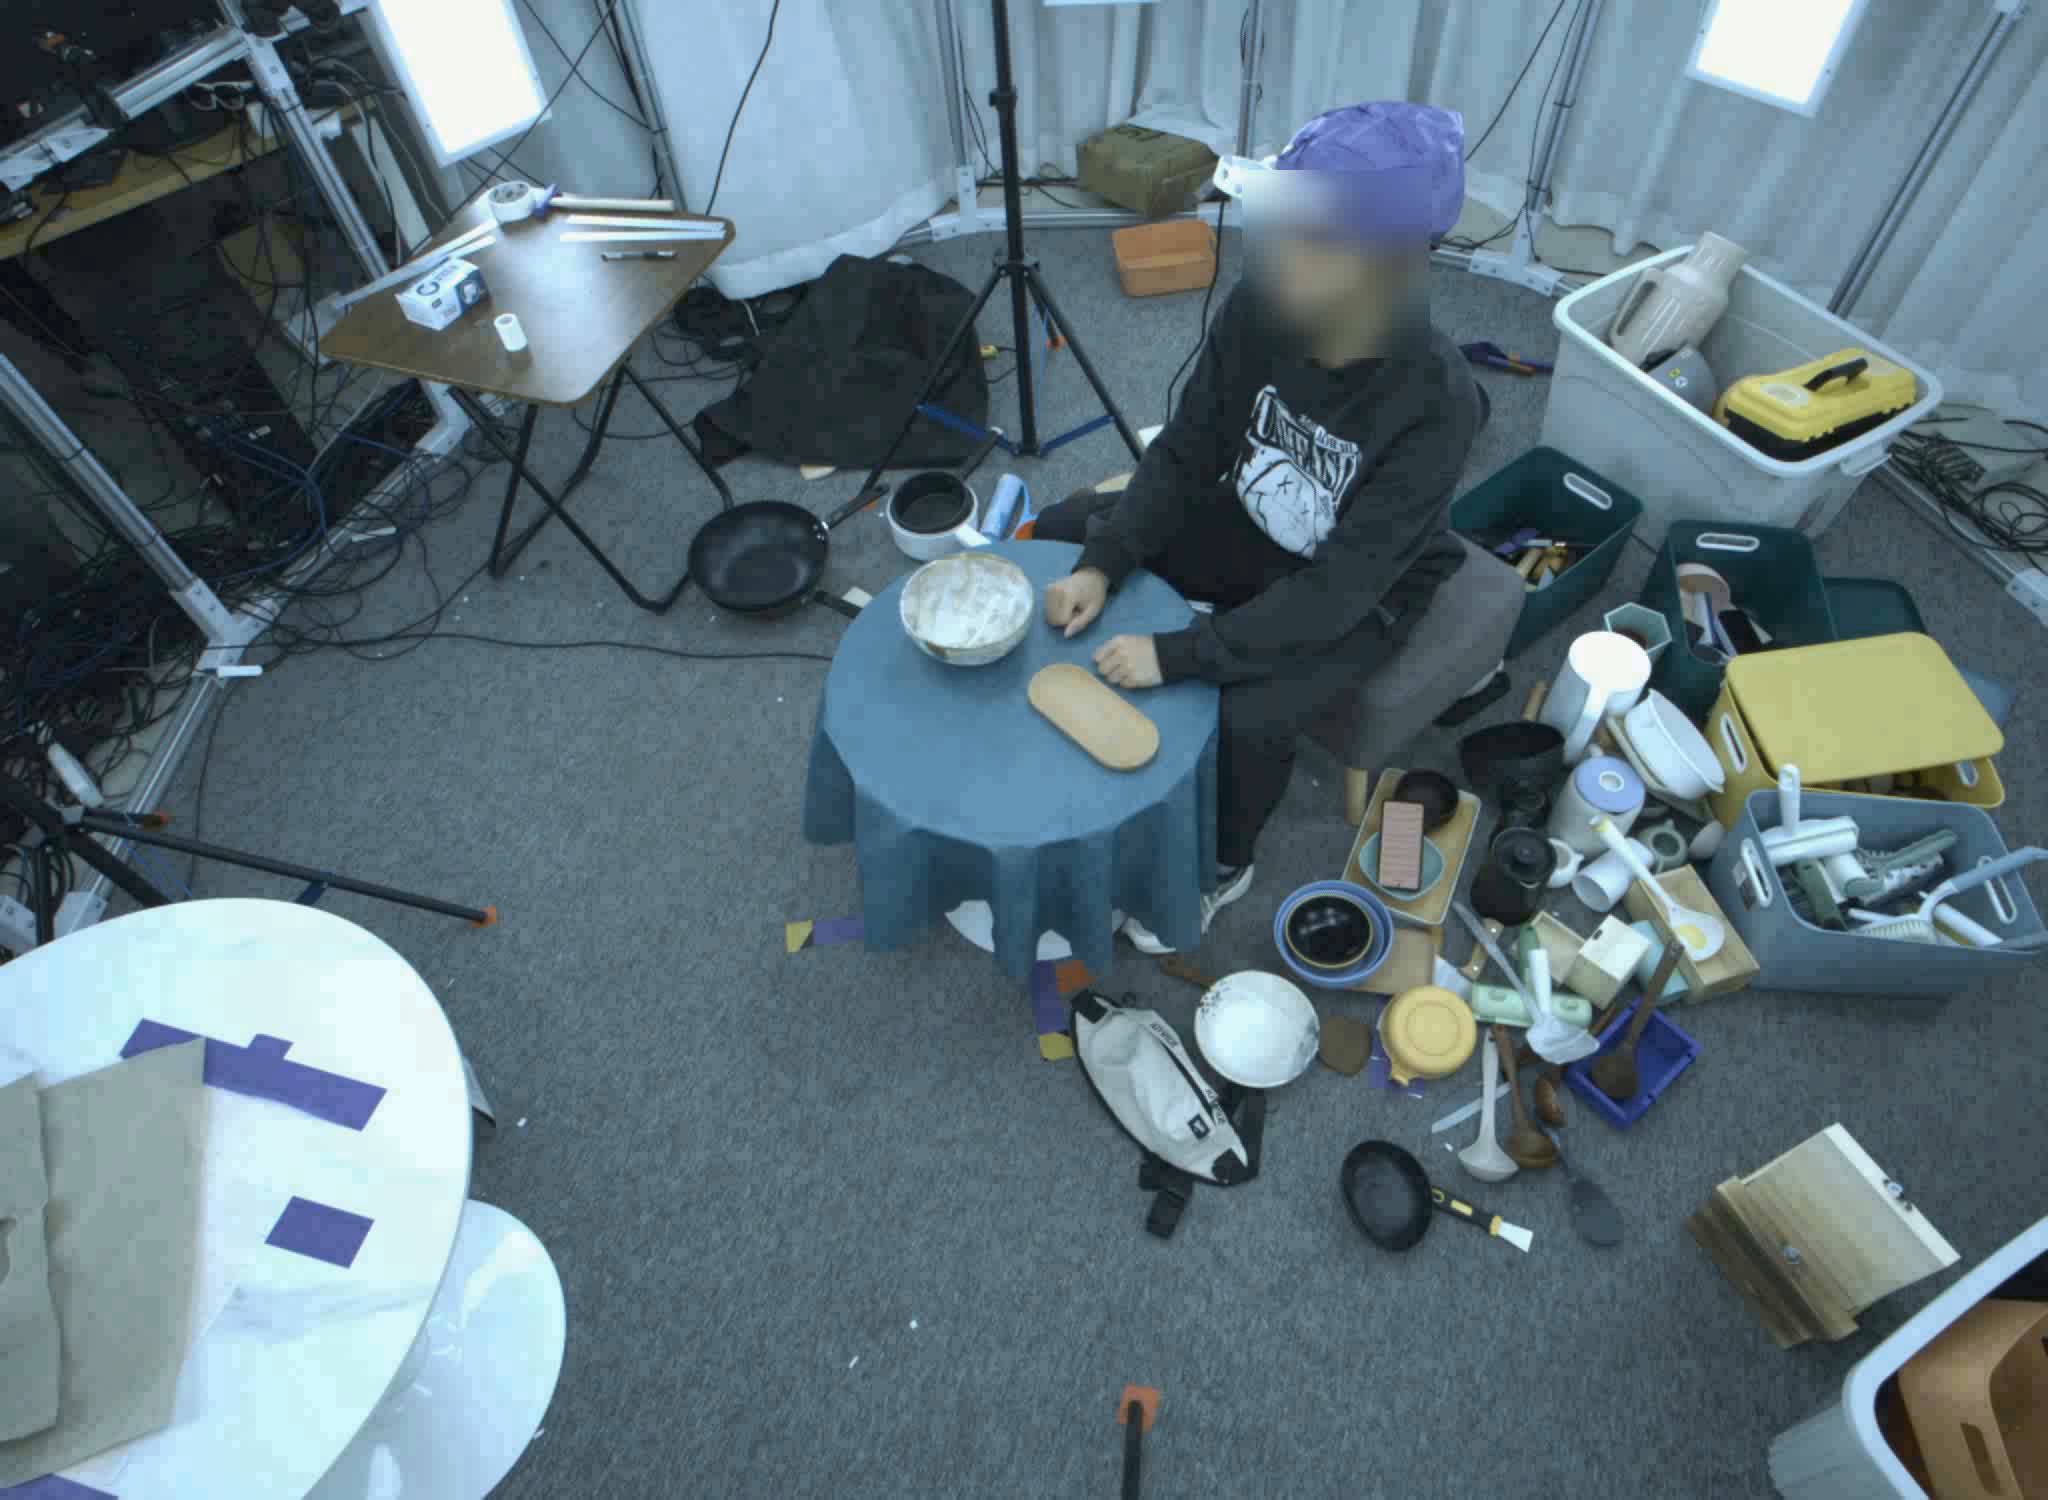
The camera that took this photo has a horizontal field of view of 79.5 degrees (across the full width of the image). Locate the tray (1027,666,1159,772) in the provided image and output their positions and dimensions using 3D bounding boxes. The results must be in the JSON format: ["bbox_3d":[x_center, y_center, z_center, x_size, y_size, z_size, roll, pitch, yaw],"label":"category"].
[{"bbox_3d":[0.100,-0.046,1.818,0.102,0.020,0.227,-38,60,-24],"label":"tray"}]

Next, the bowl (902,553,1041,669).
[{"bbox_3d":[-0.078,-0.195,1.880,0.214,0.095,0.212,0,54,2],"label":"bowl"}]
